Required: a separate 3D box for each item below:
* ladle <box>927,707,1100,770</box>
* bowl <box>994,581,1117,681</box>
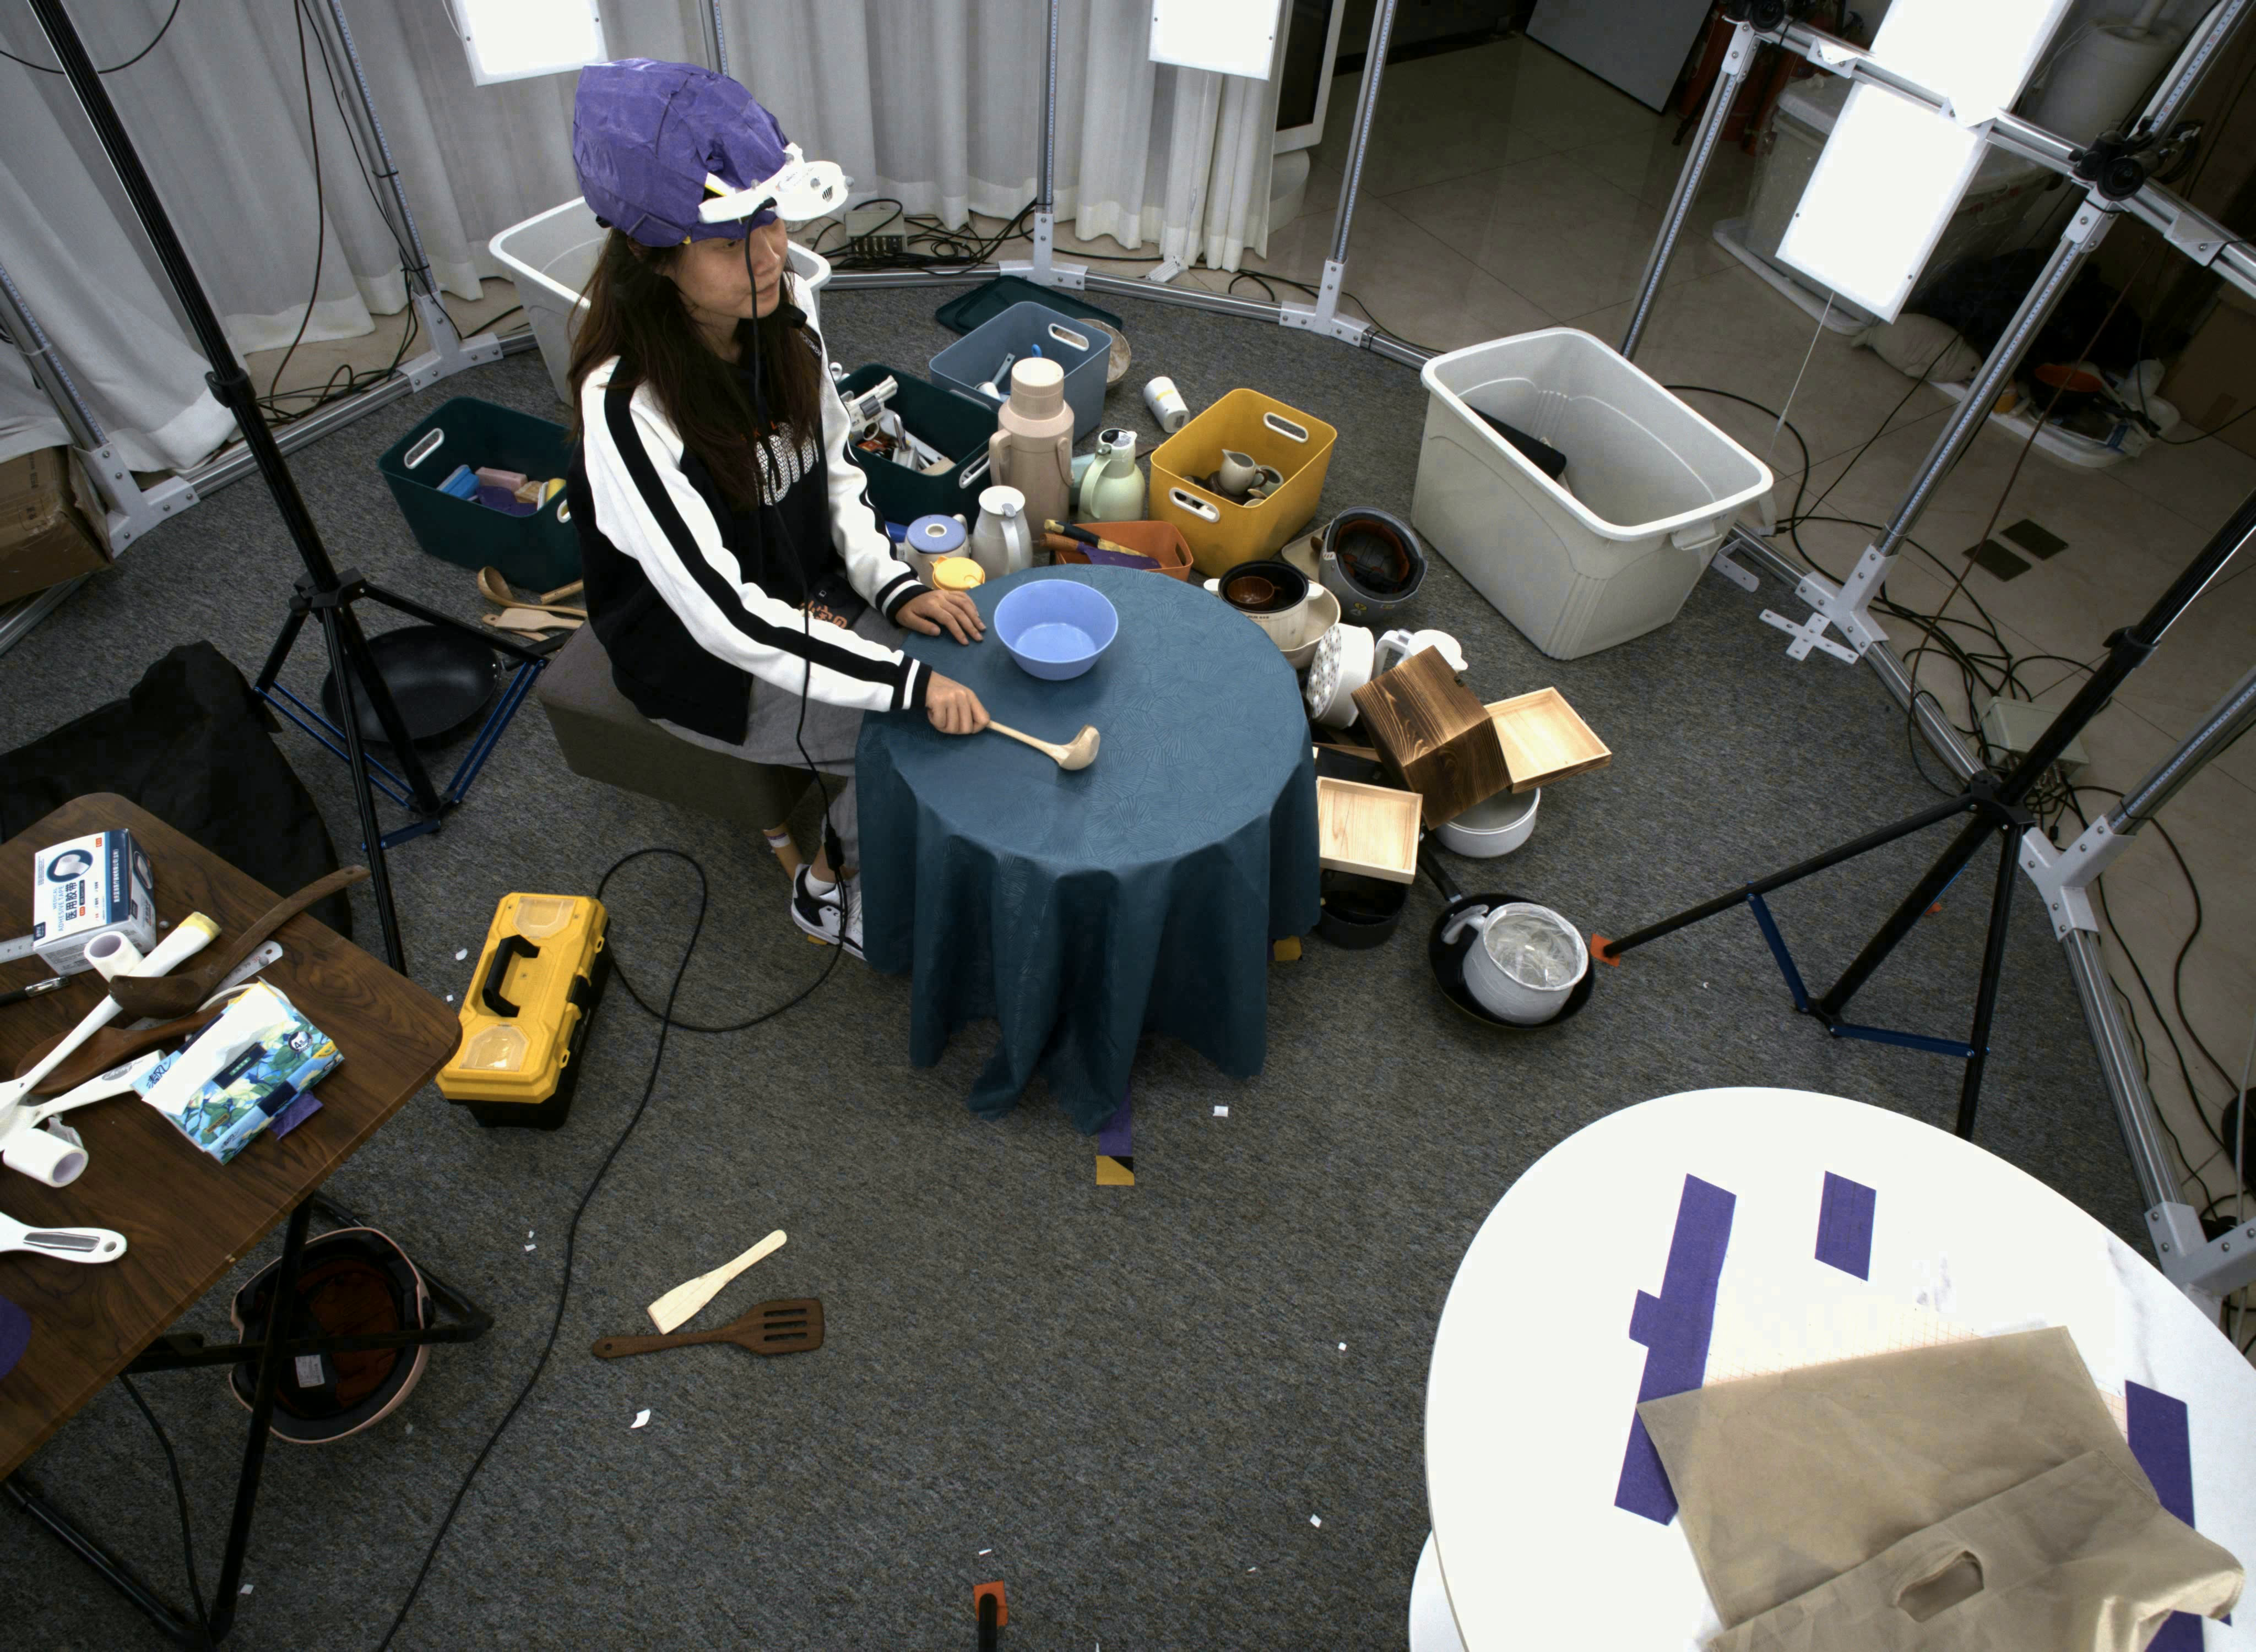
[{"bbox_3d":[-0.161,-0.142,1.735,0.255,0.071,0.073,19,55,13],"label":"ladle"},{"bbox_3d":[-0.105,-0.272,1.854,0.176,0.068,0.180,2,48,-3],"label":"bowl"}]
